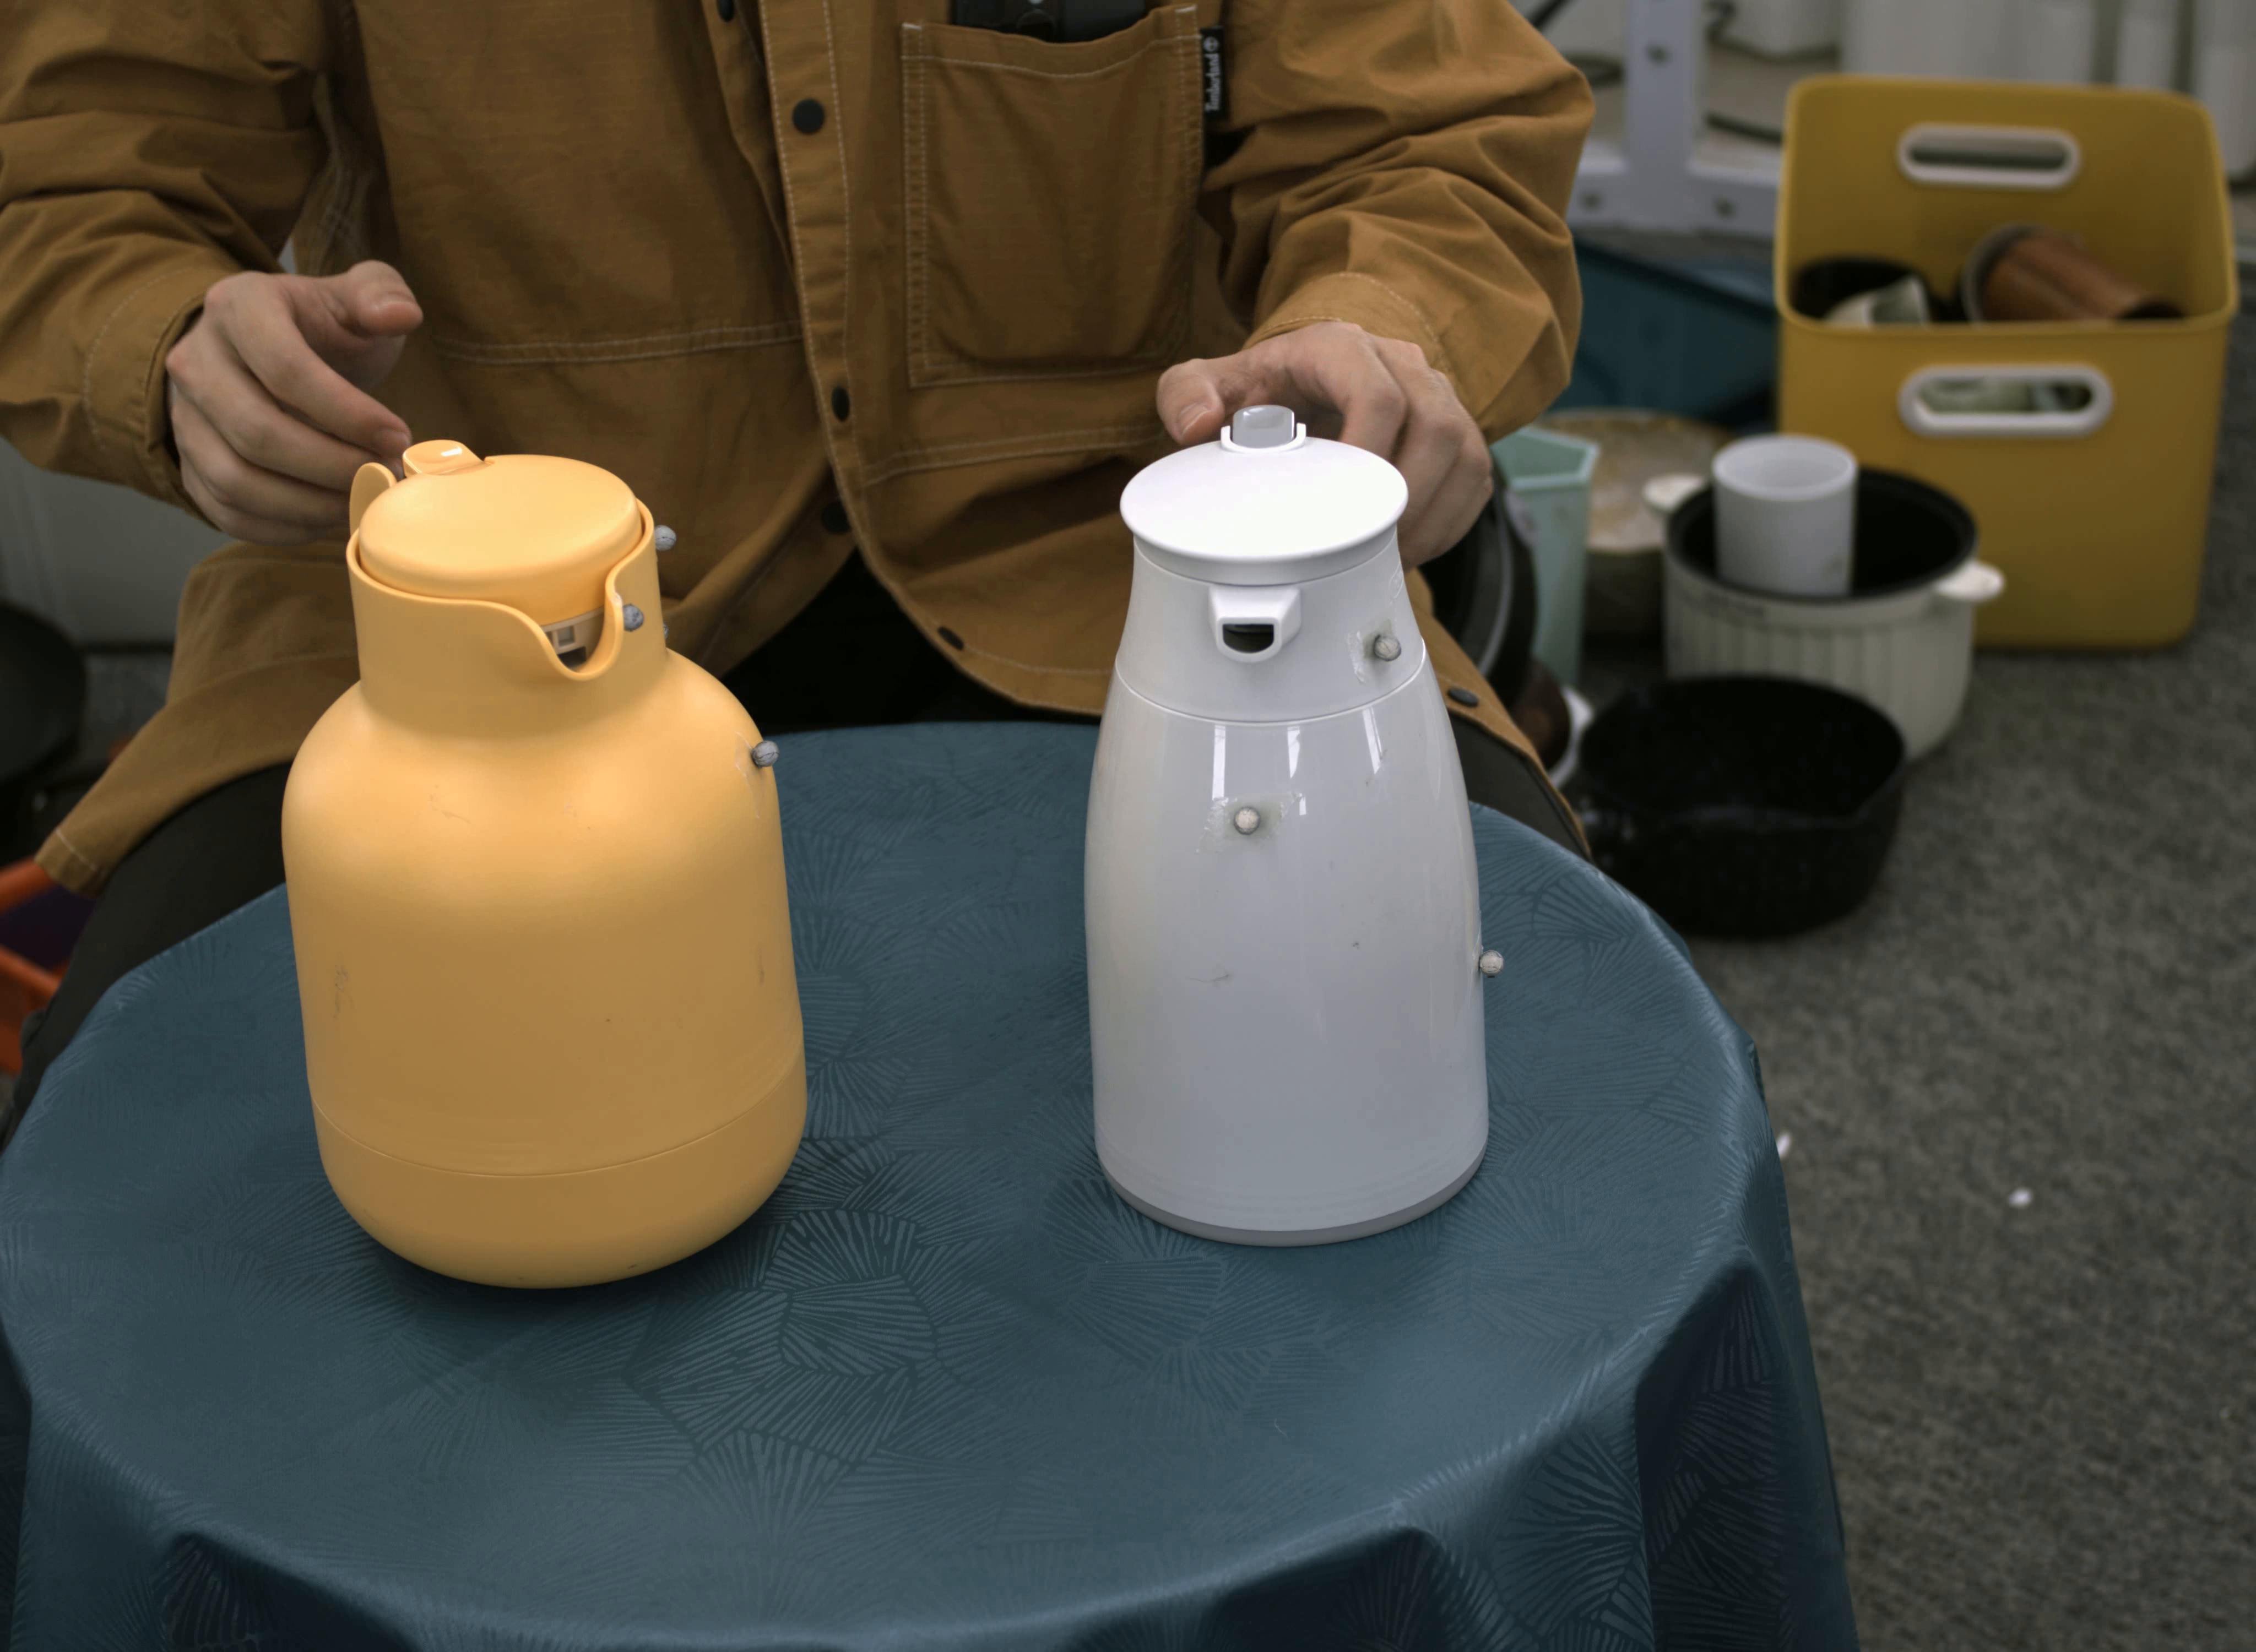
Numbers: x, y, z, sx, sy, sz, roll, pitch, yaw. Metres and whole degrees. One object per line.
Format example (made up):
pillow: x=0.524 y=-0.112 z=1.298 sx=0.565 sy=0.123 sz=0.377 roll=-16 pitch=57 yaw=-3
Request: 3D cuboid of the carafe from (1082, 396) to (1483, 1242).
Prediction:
carafe: x=0.049 y=-0.013 z=1.846 sx=0.132 sy=0.246 sz=0.170 roll=0 pitch=26 yaw=6

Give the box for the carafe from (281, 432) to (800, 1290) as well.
carafe: x=-0.198 y=0.001 z=1.832 sx=0.164 sy=0.257 sz=0.204 roll=-12 pitch=29 yaw=-22
